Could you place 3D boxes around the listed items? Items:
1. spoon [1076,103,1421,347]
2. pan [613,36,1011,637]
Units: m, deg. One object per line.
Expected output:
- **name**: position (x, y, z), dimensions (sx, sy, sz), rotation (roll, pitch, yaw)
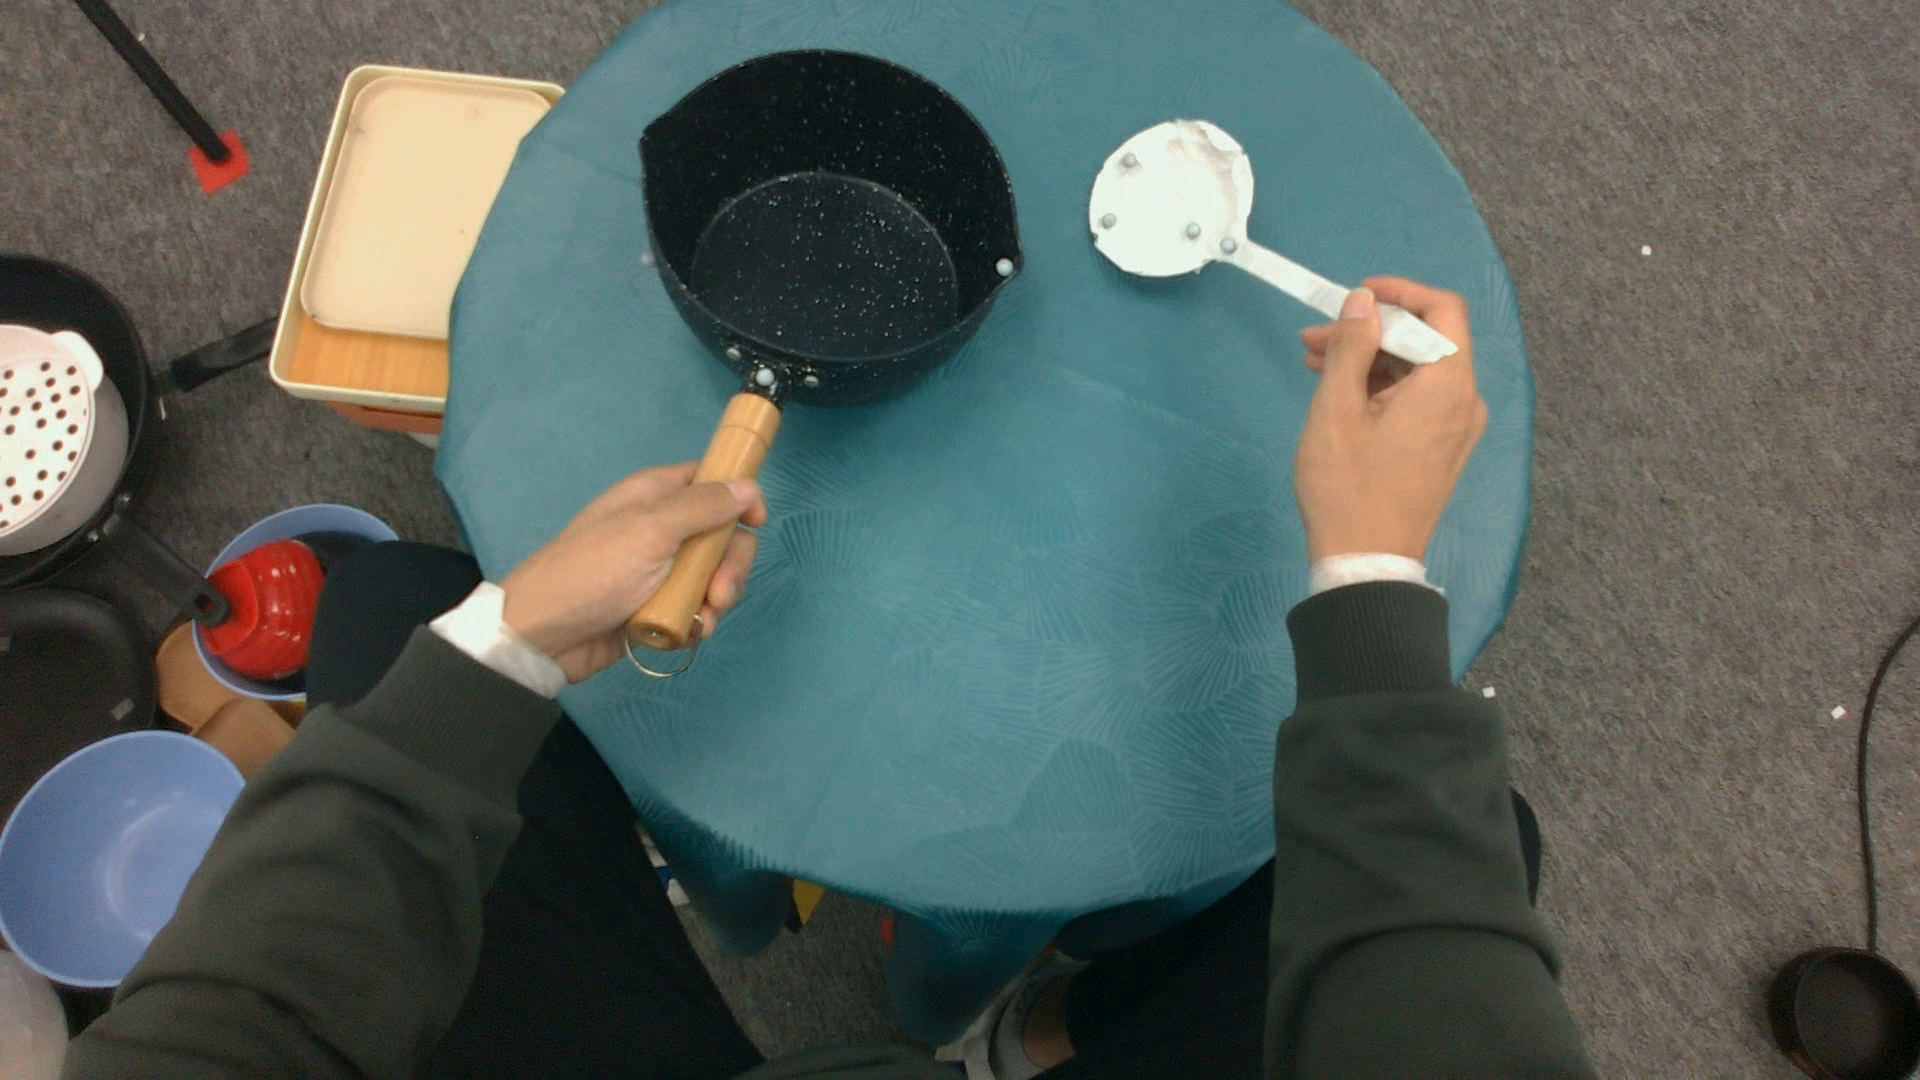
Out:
- **spoon**: position (0.132, -0.155, 0.682), dimensions (0.059, 0.278, 0.100), rotation (38, 100, -28)
- **pan**: position (-0.094, -0.094, 0.679), dimensions (0.207, 0.108, 0.344), rotation (18, 65, -5)
